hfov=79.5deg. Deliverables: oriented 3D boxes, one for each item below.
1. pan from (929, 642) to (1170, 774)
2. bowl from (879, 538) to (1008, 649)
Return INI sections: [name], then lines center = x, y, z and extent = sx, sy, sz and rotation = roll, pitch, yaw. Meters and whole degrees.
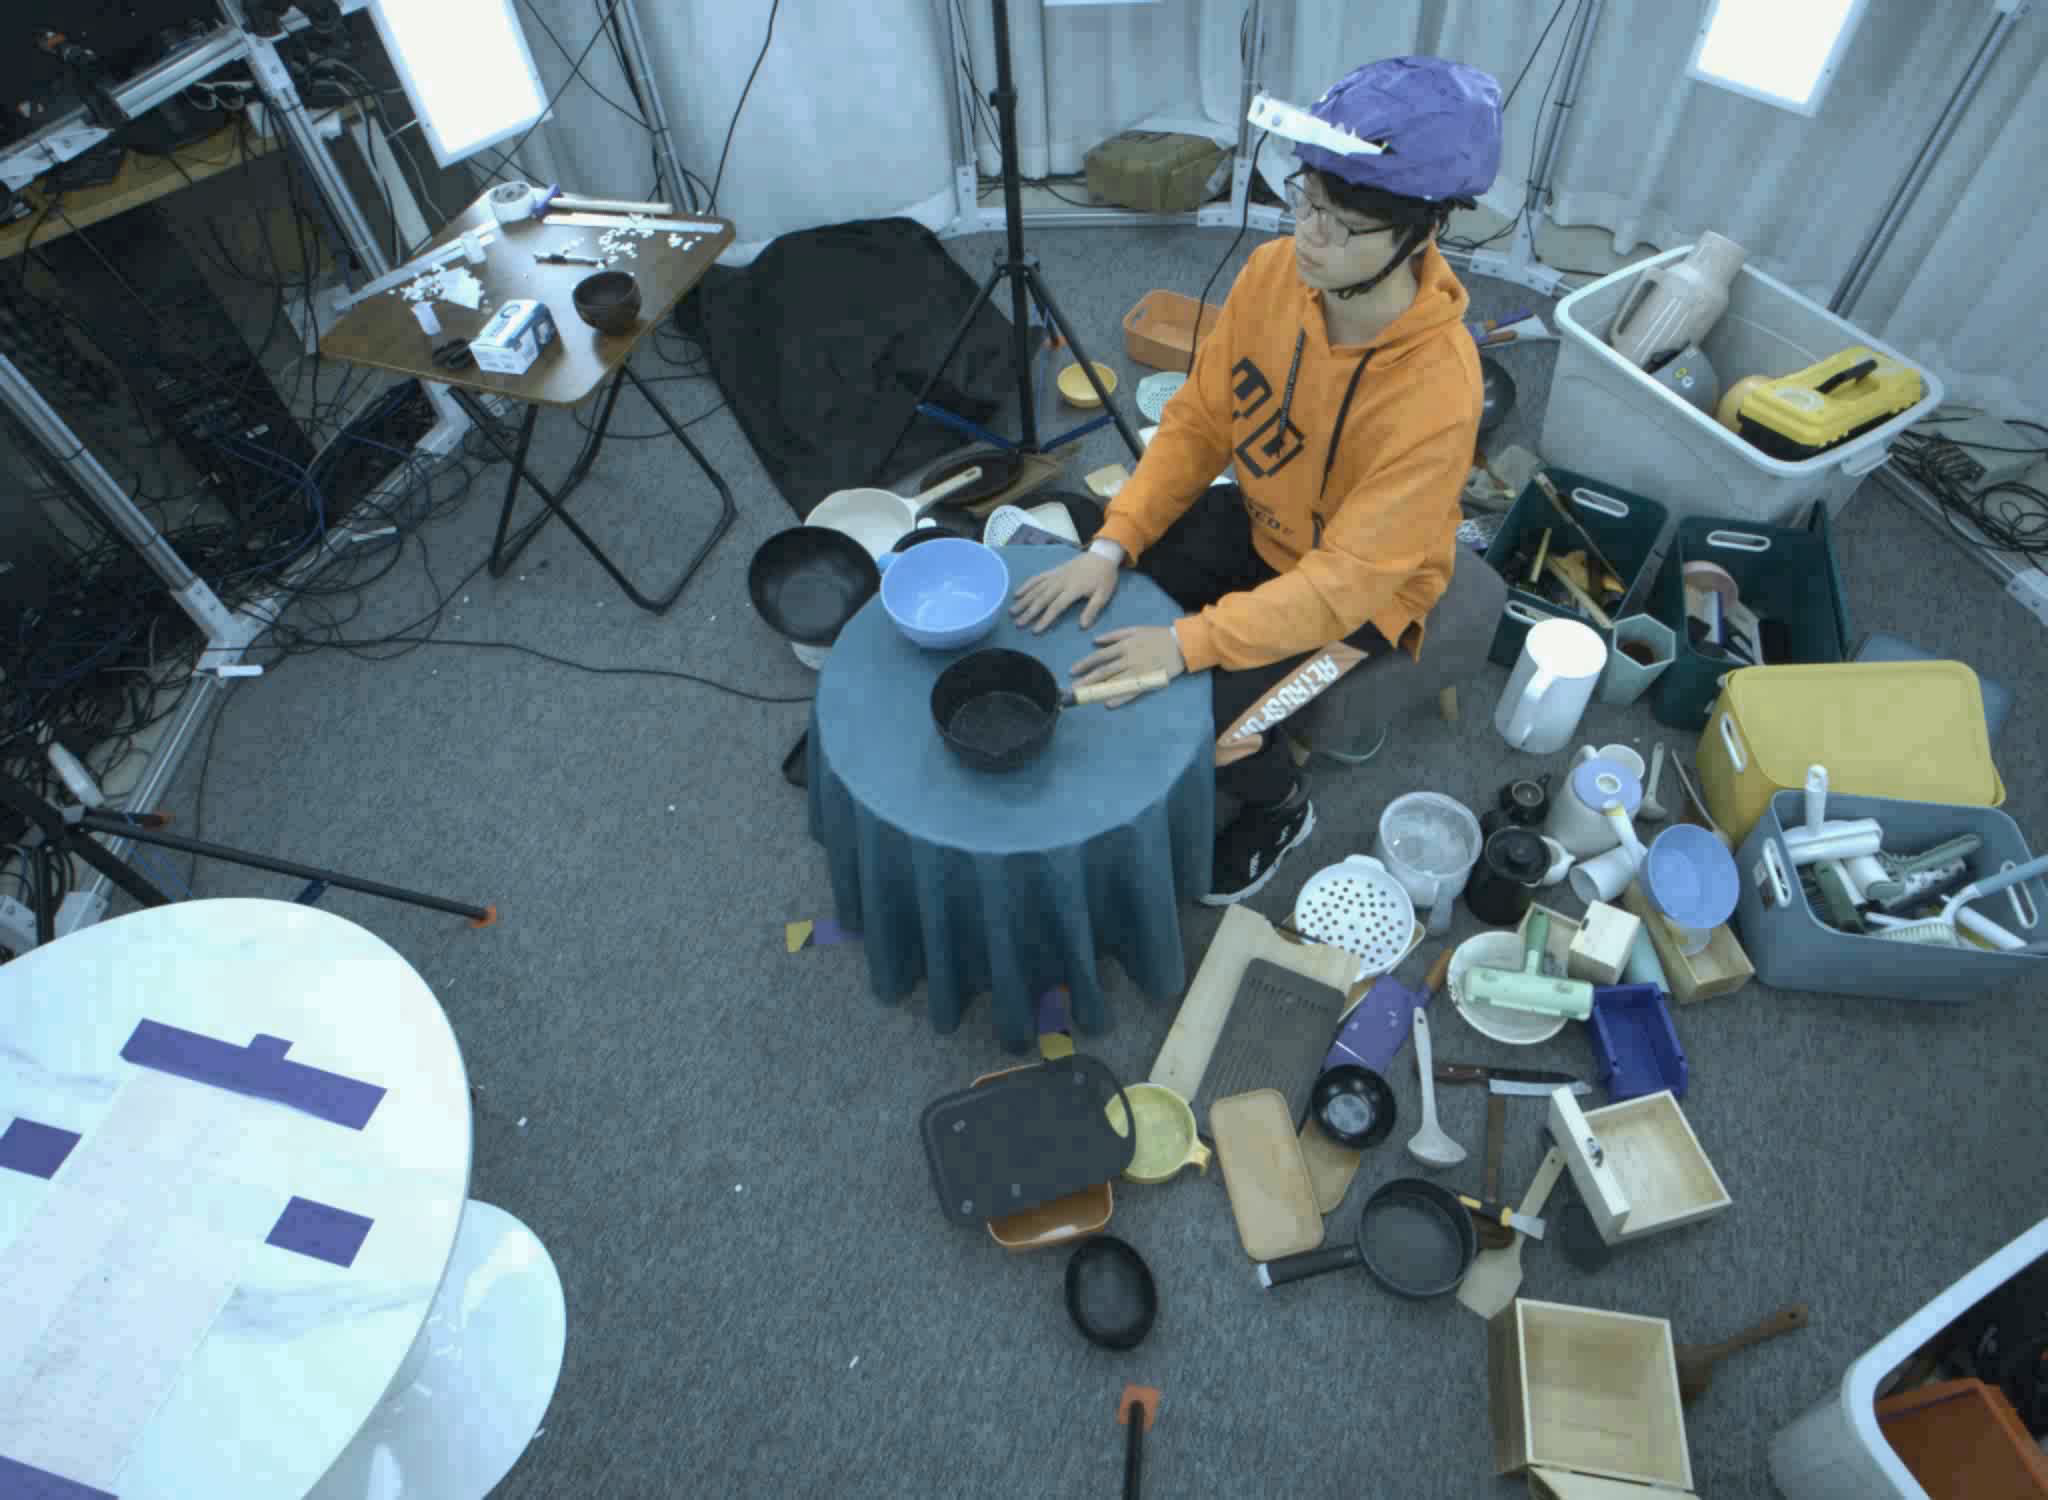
[pan]
center = 0.038, -0.065, 1.765
extent = 0.343, 0.109, 0.205
rotation = -6, 53, 0
[bowl]
center = -0.119, -0.227, 1.893
extent = 0.196, 0.096, 0.194
rotation = -1, 54, 3
